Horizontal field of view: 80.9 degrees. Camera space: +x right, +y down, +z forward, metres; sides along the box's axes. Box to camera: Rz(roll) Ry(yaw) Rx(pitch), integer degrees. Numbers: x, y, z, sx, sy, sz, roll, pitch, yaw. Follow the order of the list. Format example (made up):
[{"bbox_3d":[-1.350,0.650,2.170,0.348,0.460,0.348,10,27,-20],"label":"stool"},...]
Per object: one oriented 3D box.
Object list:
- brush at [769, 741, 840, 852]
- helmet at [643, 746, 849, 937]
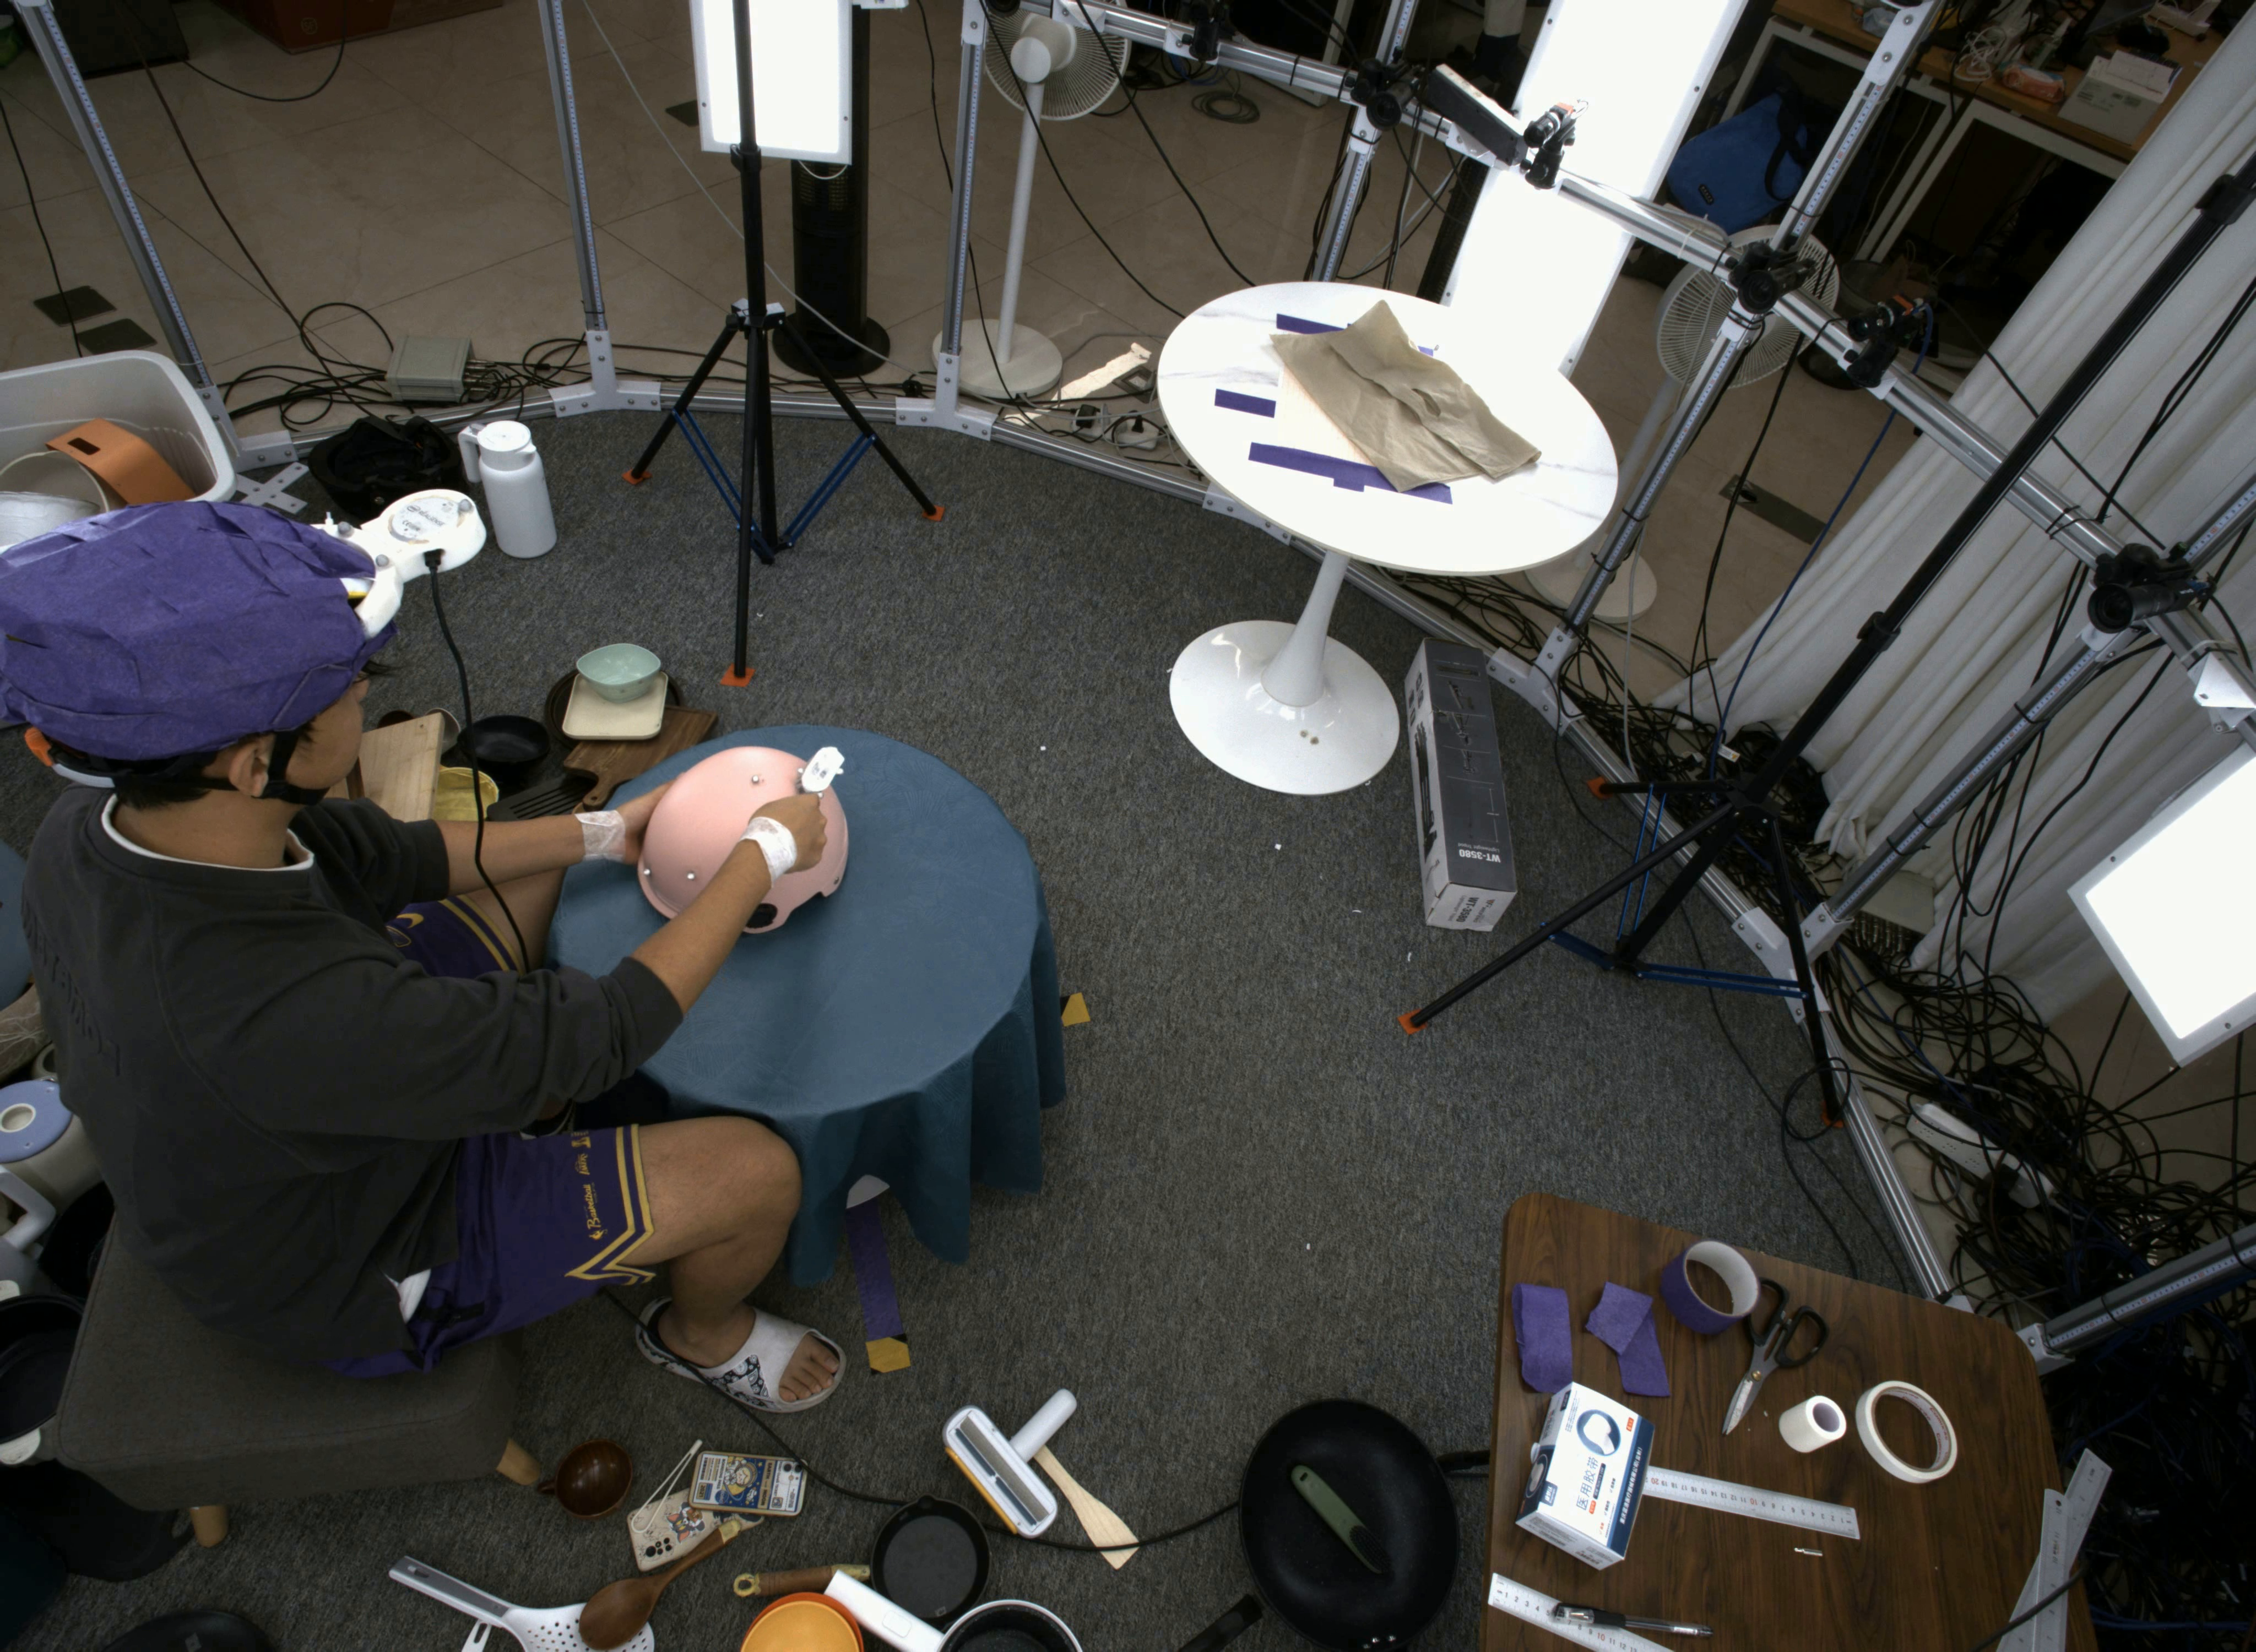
[{"bbox_3d":[-0.385,-0.027,1.509,0.035,0.050,0.239,36,27,-17],"label":"brush"},{"bbox_3d":[-0.481,0.000,1.608,0.267,0.161,0.229,-25,67,-24],"label":"helmet"}]
